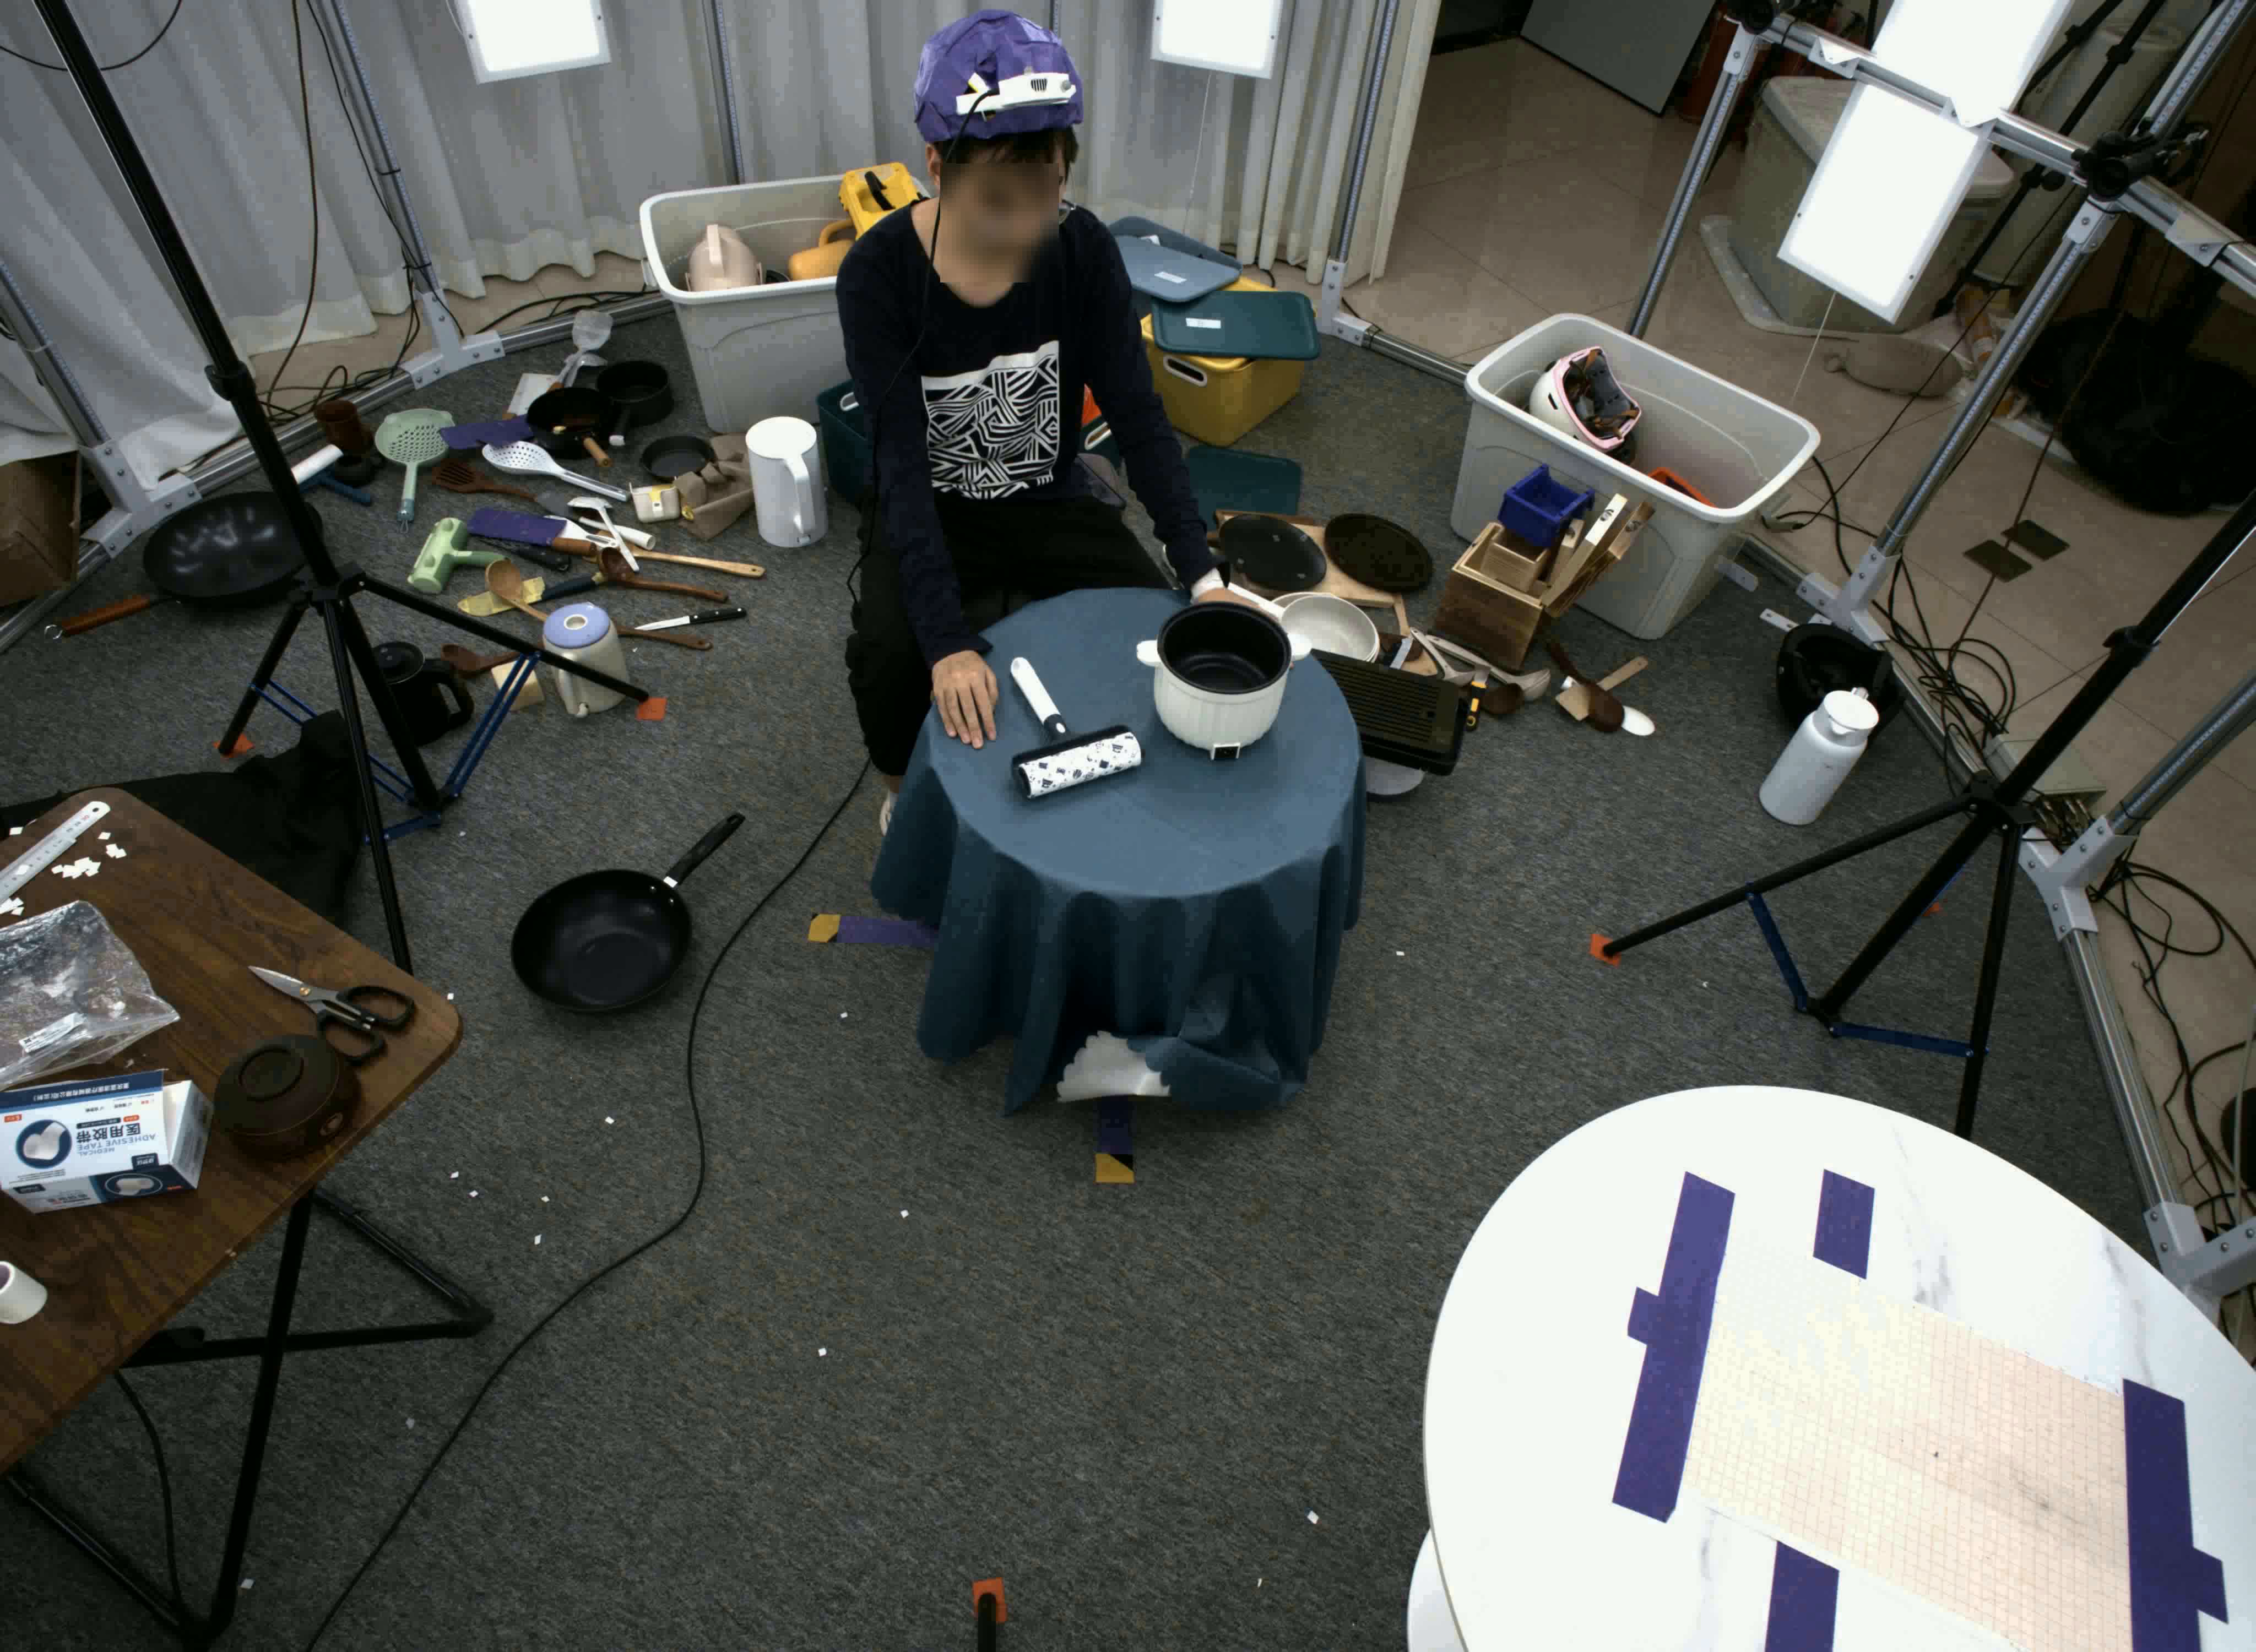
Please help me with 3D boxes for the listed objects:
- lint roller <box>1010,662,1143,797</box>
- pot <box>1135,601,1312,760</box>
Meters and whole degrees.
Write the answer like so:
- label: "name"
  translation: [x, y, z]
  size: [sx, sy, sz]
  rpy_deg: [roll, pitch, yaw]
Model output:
- label: "lint roller"
  translation: [-0.109, -0.152, 1.764]
  size: [0.176, 0.049, 0.253]
  rpy_deg: [-19, 51, -17]
- label: "pot"
  translation: [0.123, -0.203, 1.762]
  size: [0.240, 0.139, 0.195]
  rpy_deg: [-4, 52, -8]
